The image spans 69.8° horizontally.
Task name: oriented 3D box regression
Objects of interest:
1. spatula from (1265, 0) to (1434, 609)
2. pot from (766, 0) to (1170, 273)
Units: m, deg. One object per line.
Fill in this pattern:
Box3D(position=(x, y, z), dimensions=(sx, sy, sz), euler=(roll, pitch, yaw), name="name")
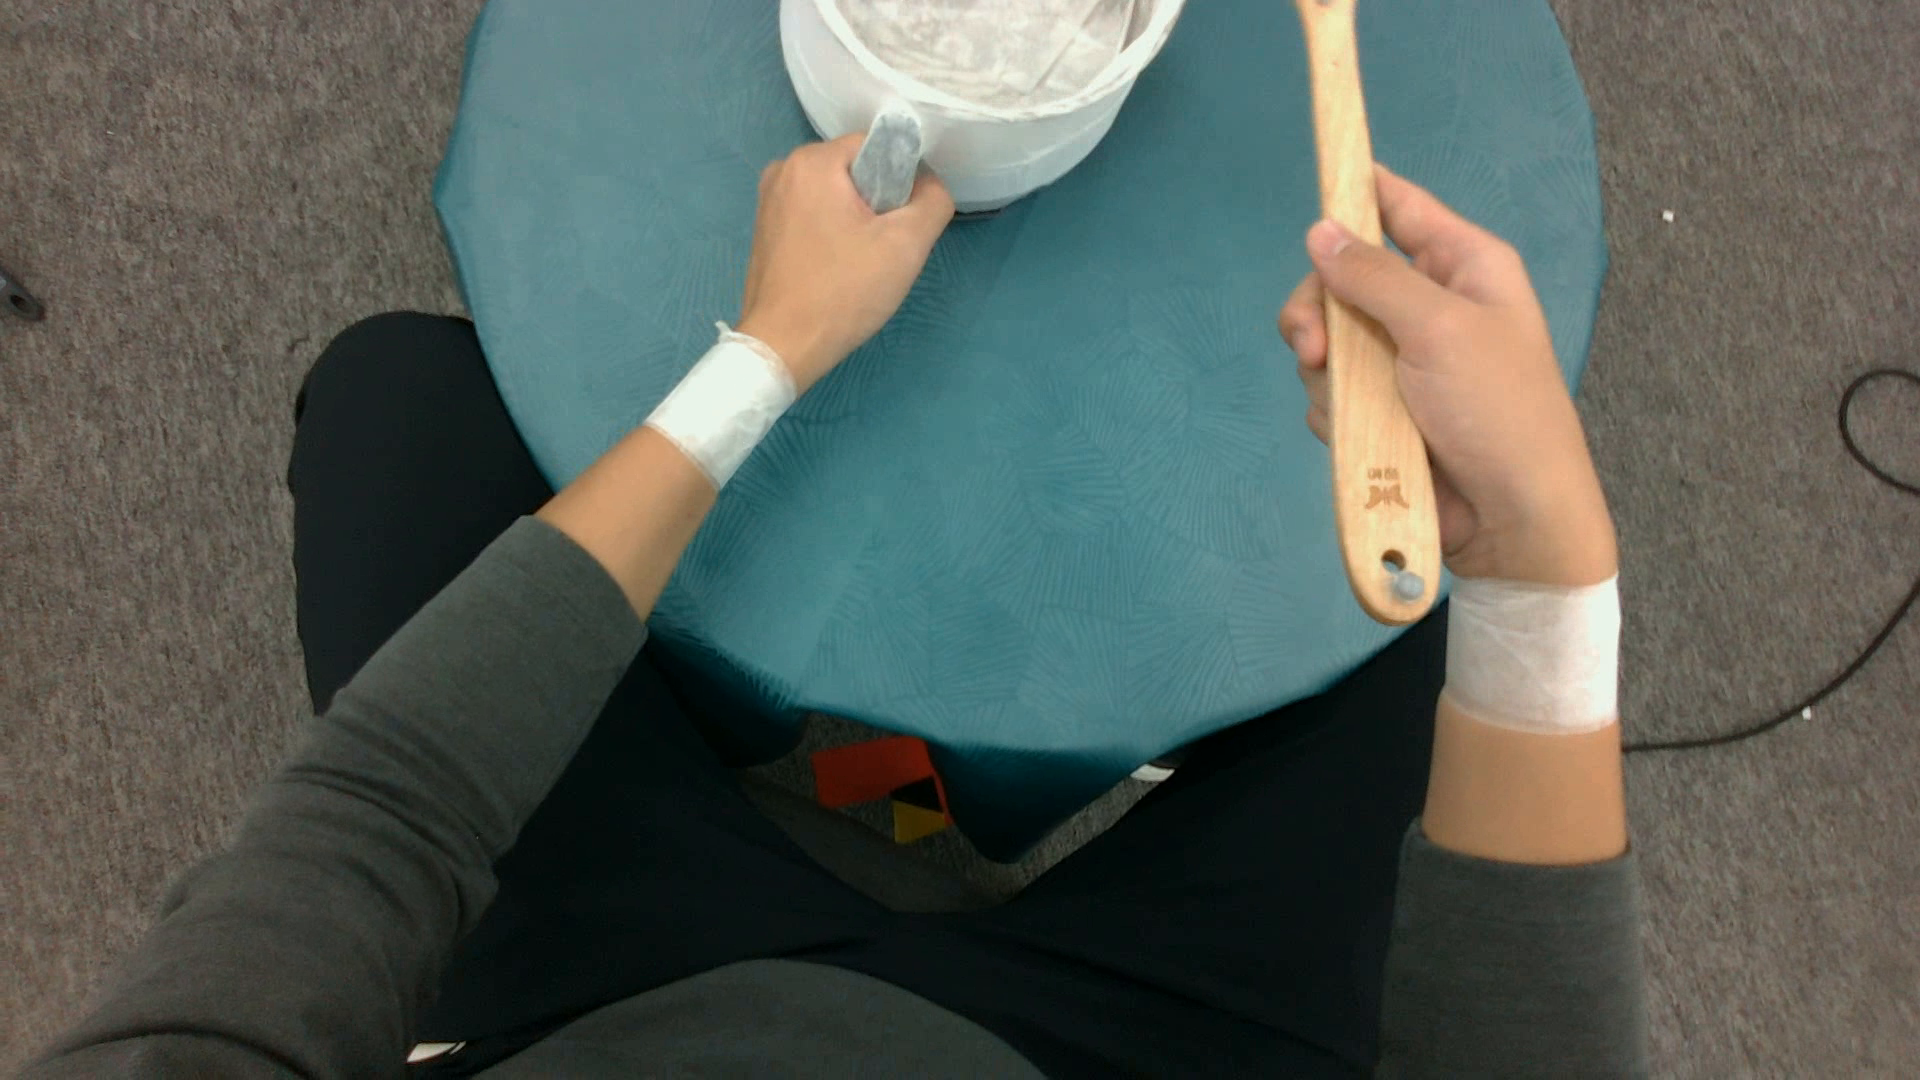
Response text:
Box3D(position=(0.132, -0.155, 0.503), dimensions=(0.096, 0.018, 0.392), euler=(-2, 62, 1), name="spatula")
Box3D(position=(-0.011, -0.240, 0.640), dimensions=(0.179, 0.136, 0.234), euler=(23, 81, -8), name="pot")
